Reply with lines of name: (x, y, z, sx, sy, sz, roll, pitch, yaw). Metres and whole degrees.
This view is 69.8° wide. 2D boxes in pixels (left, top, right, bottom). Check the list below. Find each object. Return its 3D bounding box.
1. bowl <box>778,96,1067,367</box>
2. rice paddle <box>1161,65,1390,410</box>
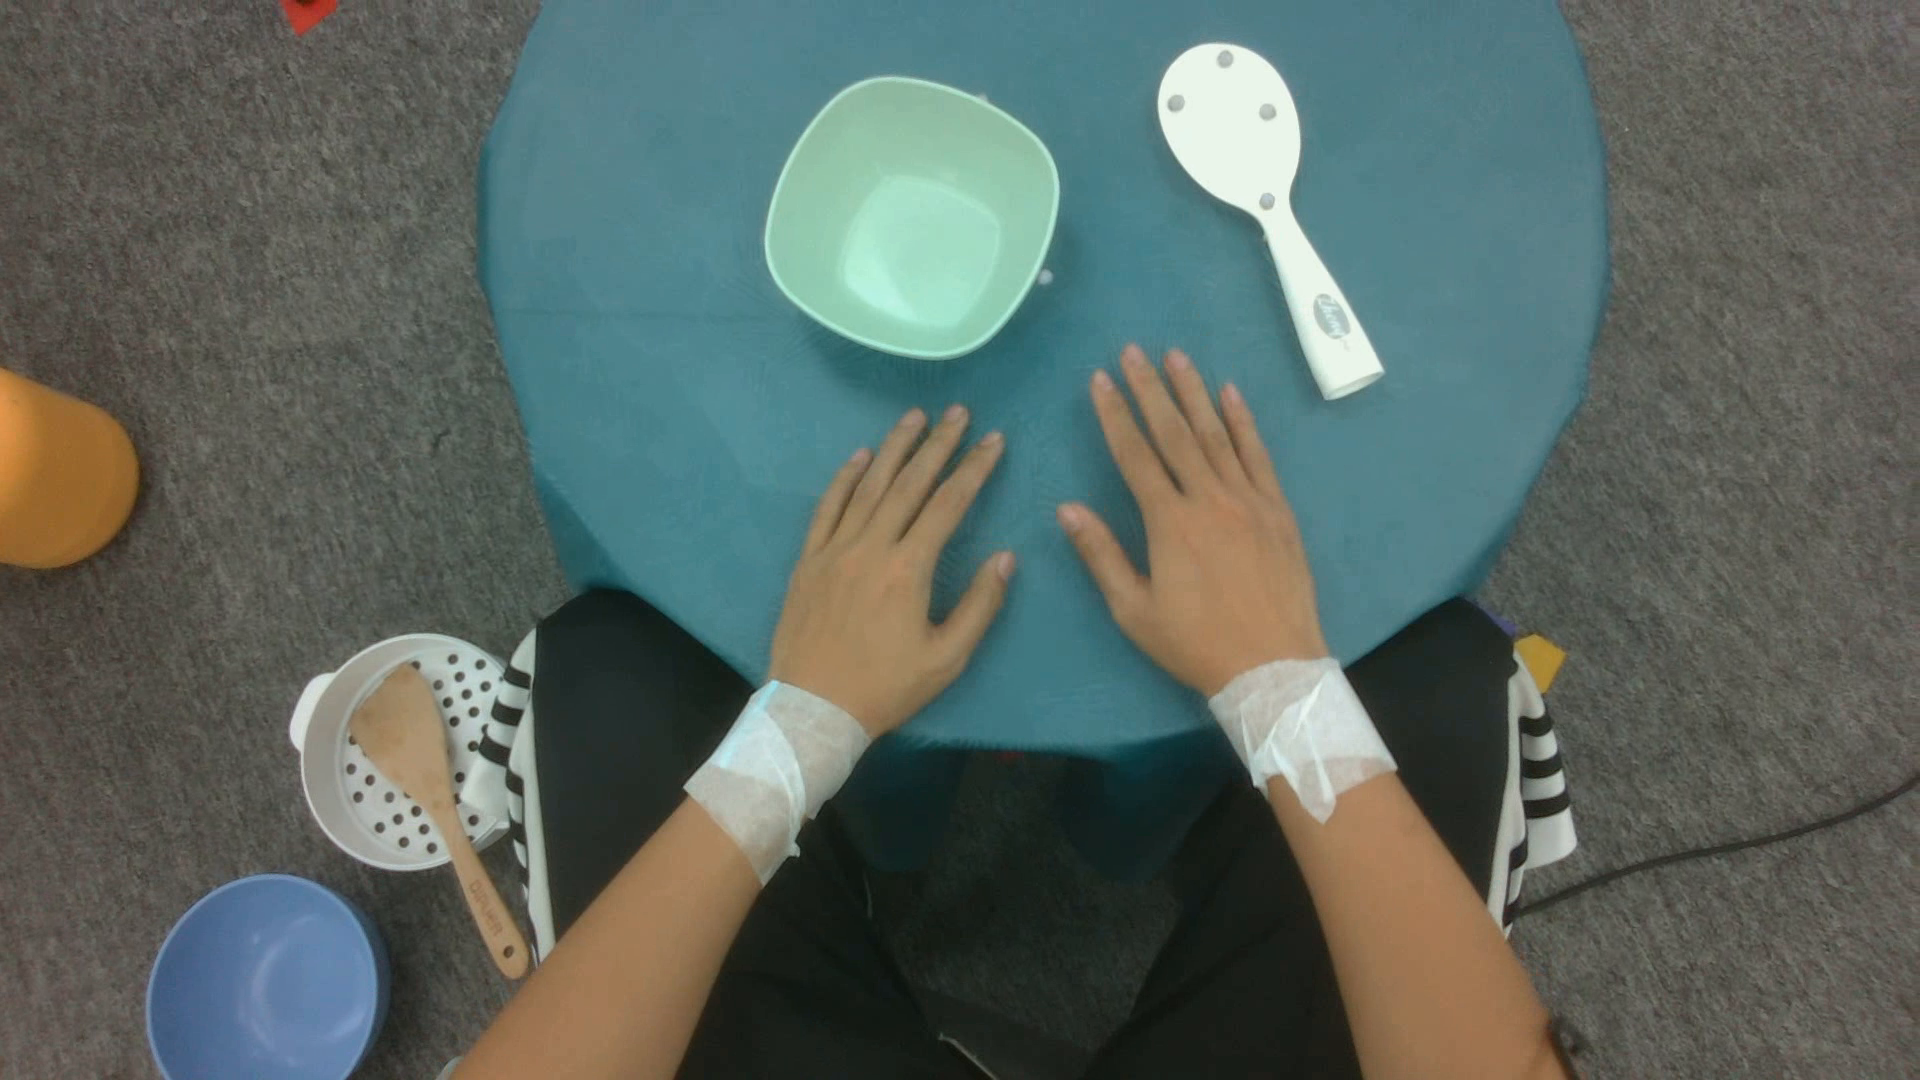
bowl: (-0.018, -0.153, 0.723, 0.151, 0.058, 0.152, 0, 77, 2)
rice paddle: (0.167, -0.166, 0.727, 0.069, 0.029, 0.205, -23, 79, -2)
